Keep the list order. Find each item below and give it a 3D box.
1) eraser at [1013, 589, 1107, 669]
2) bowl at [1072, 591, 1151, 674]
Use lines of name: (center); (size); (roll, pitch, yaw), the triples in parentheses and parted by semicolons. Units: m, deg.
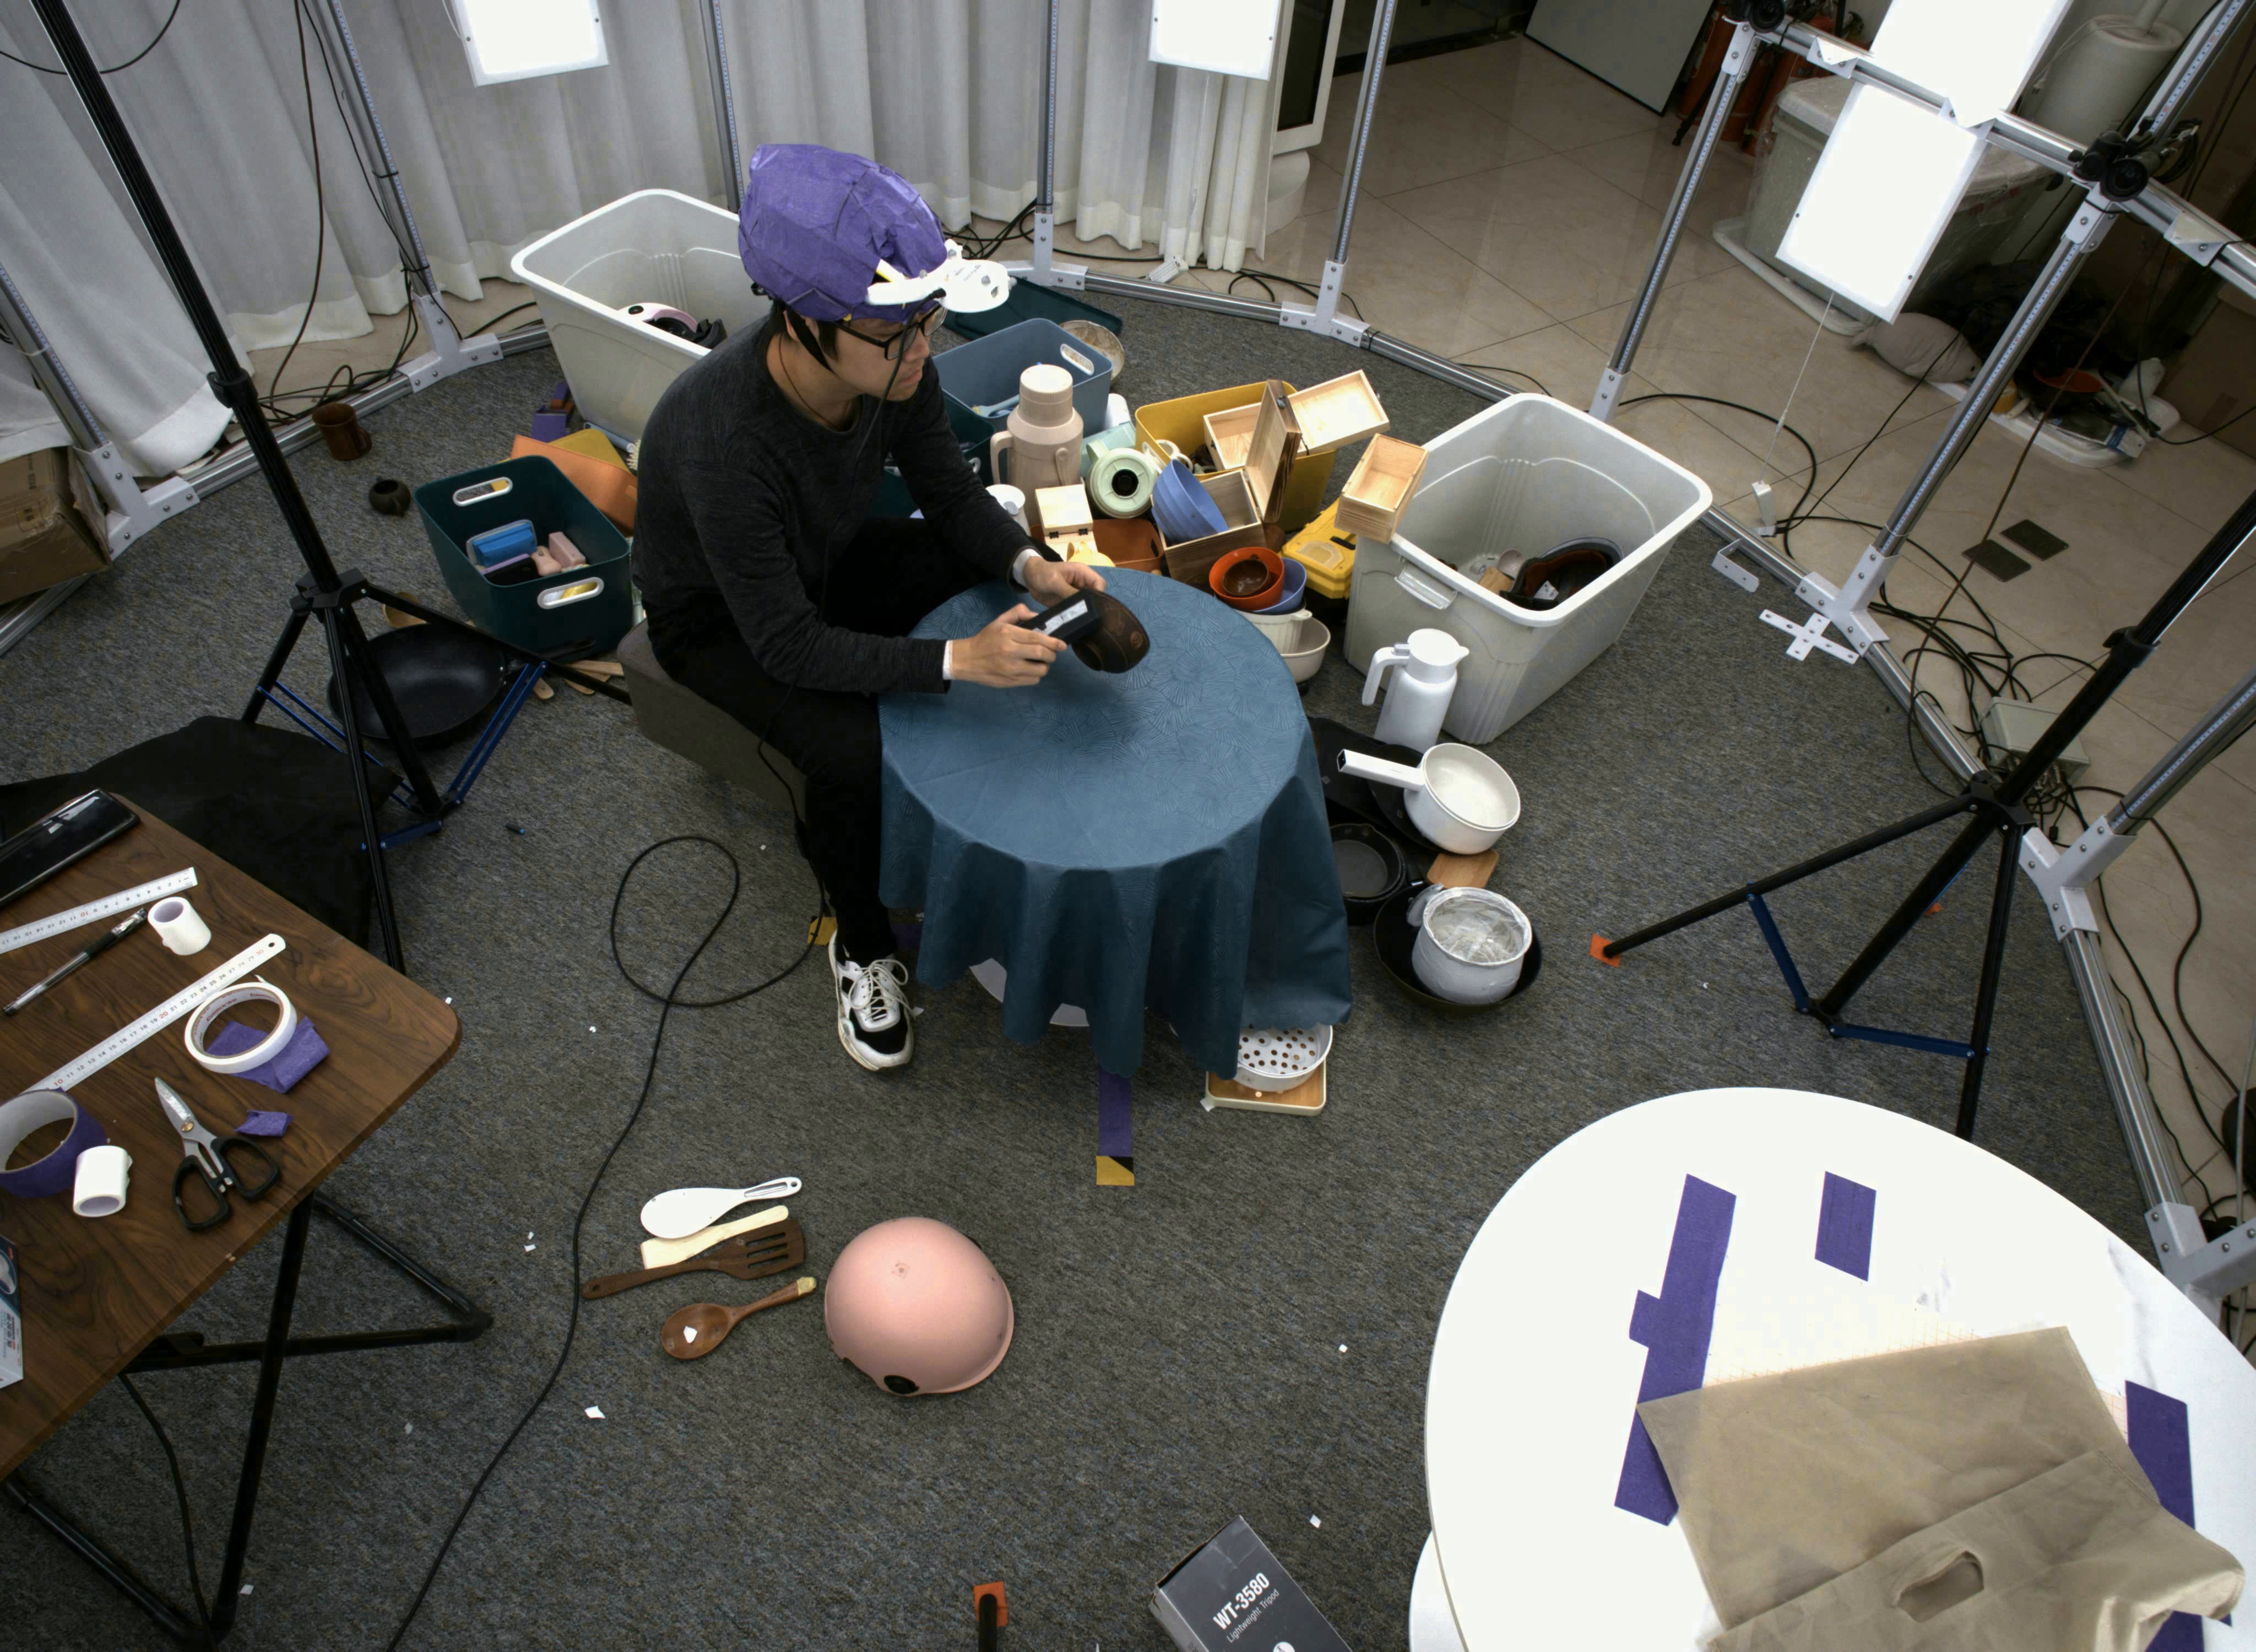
eraser: (-0.091, -0.263, 1.715); (0.125, 0.030, 0.054); (-29, 67, 16)
bowl: (-0.033, -0.257, 1.762); (0.119, 0.115, 0.070); (34, 70, 22)
